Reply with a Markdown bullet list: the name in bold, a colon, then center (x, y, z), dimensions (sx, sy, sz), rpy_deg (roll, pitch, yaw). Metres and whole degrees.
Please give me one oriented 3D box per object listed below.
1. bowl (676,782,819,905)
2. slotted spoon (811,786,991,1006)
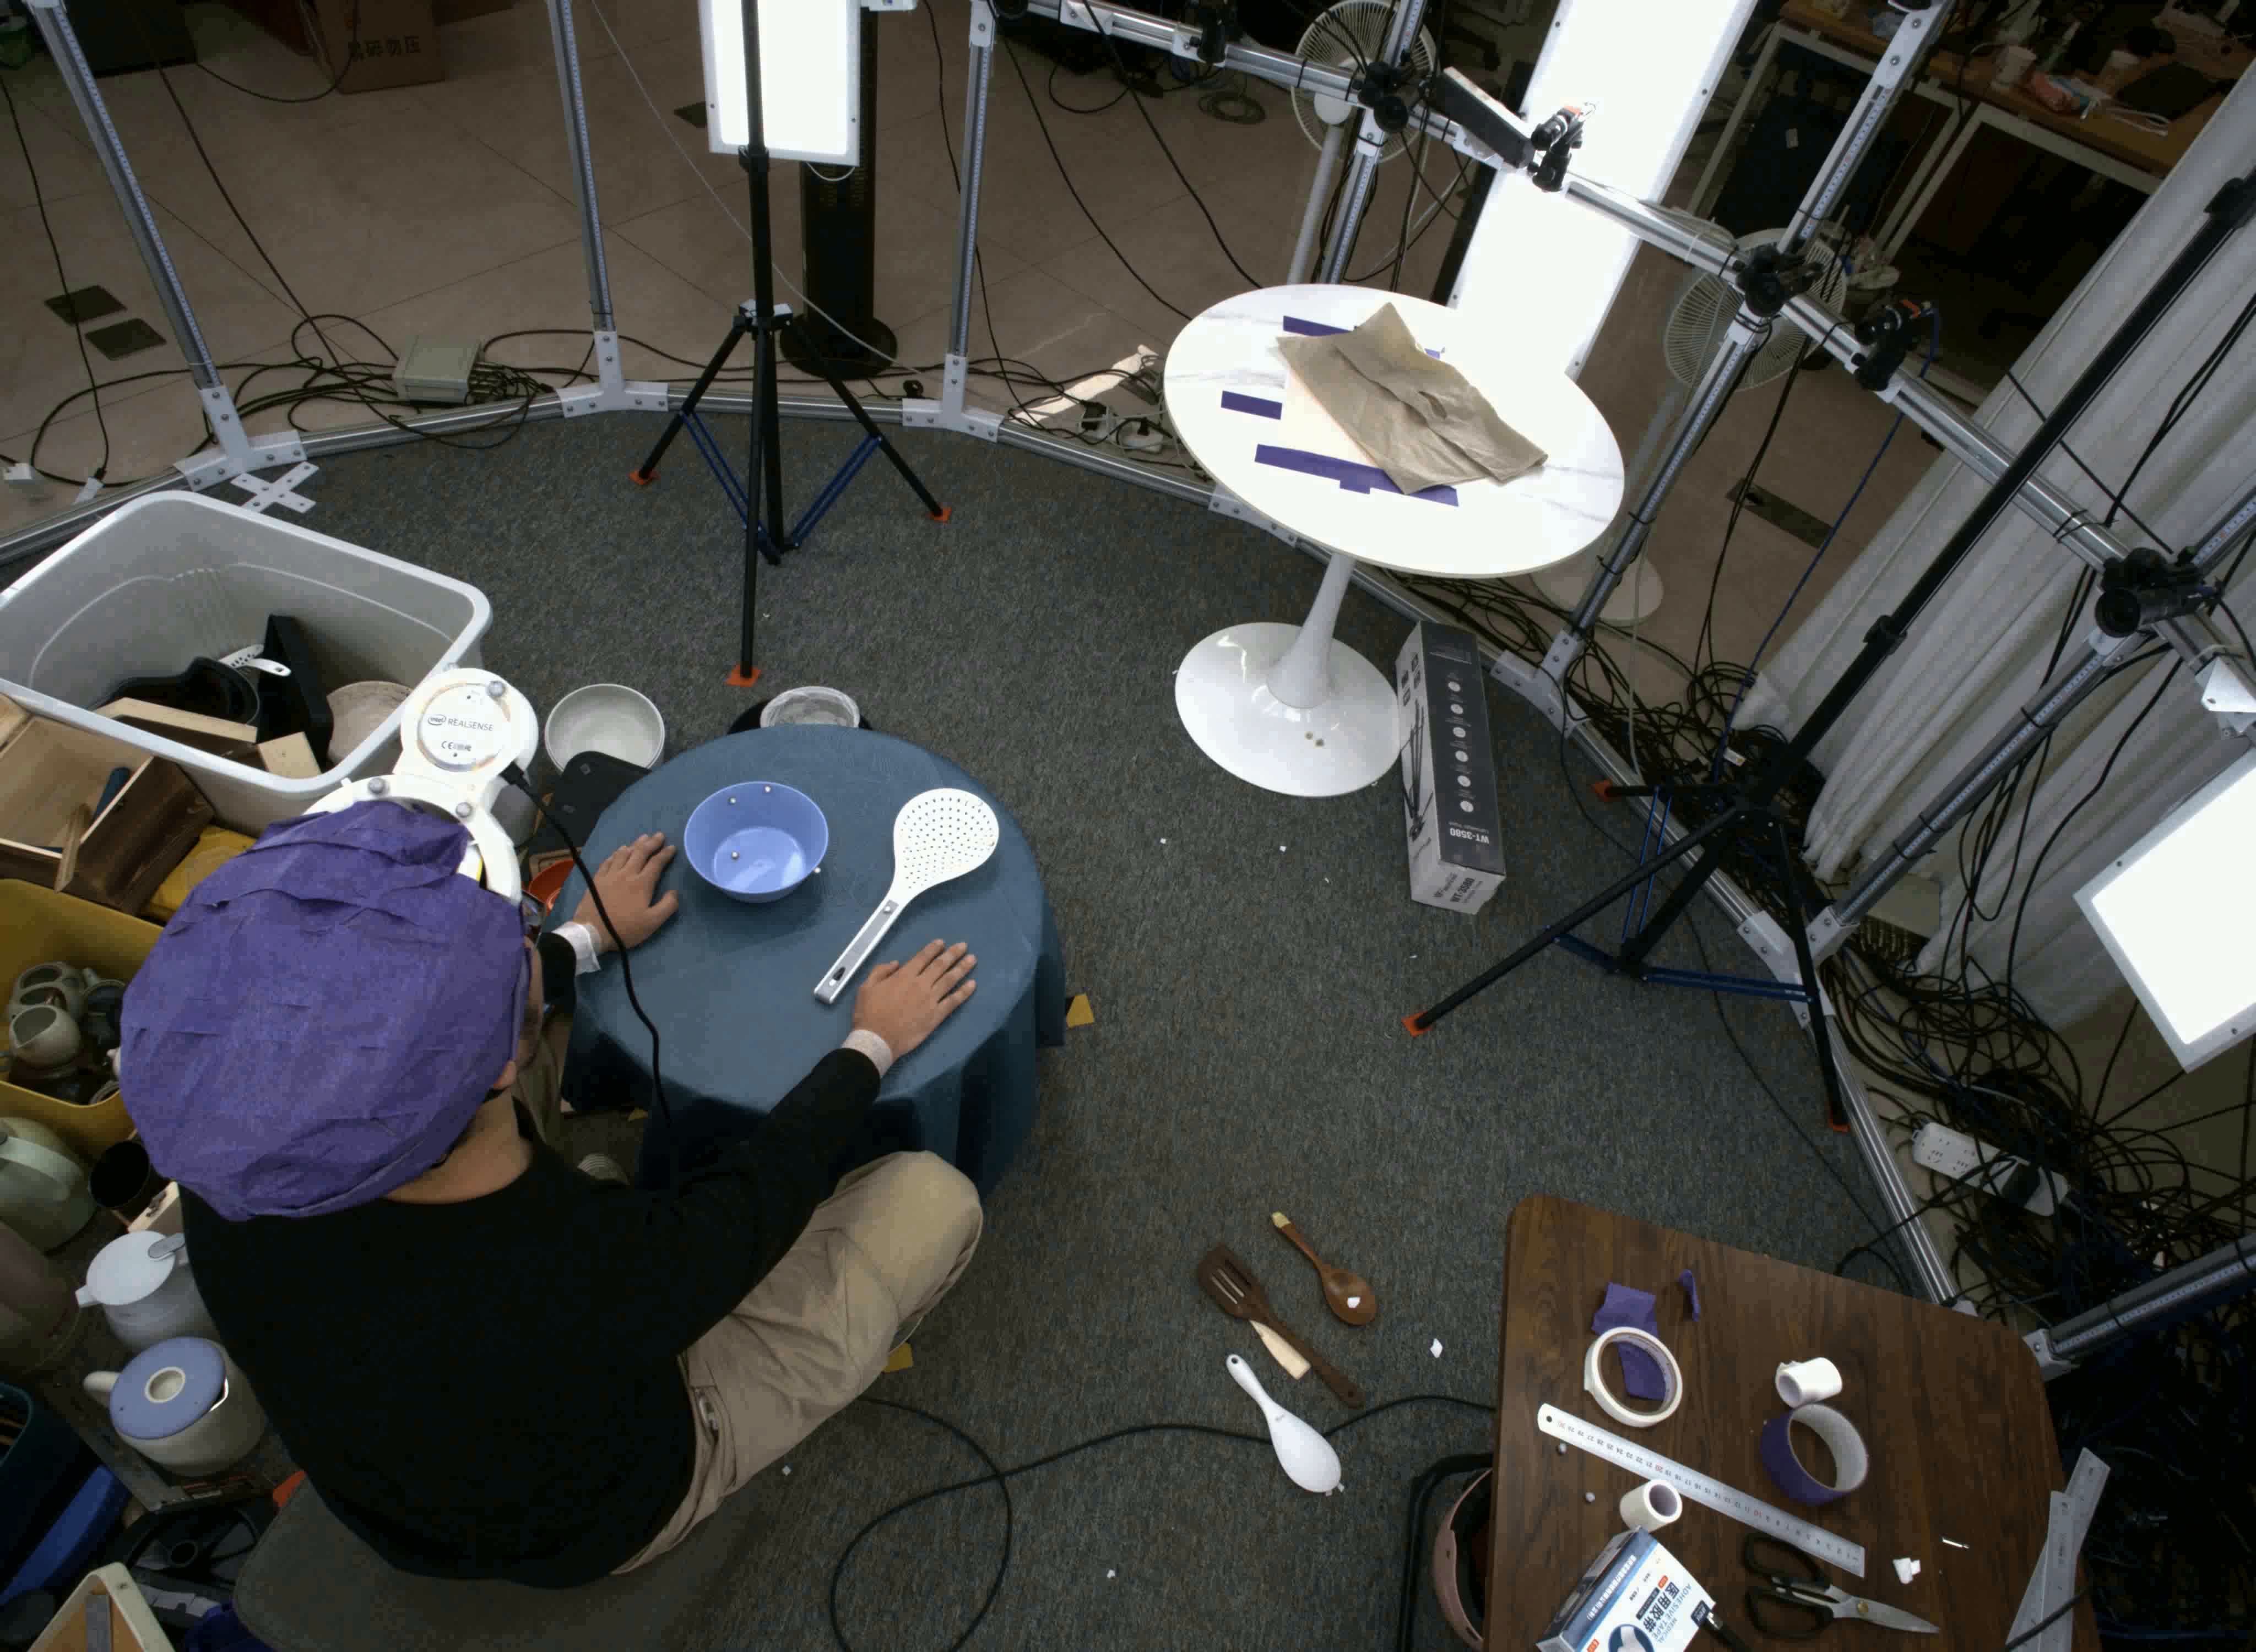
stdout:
- **bowl**: center (-0.478, 0.032, 1.636), dimensions (0.175, 0.072, 0.173), rpy_deg (7, 53, -8)
- **slotted spoon**: center (-0.296, 0.085, 1.660), dimensions (0.134, 0.046, 0.348), rpy_deg (27, 53, 7)
